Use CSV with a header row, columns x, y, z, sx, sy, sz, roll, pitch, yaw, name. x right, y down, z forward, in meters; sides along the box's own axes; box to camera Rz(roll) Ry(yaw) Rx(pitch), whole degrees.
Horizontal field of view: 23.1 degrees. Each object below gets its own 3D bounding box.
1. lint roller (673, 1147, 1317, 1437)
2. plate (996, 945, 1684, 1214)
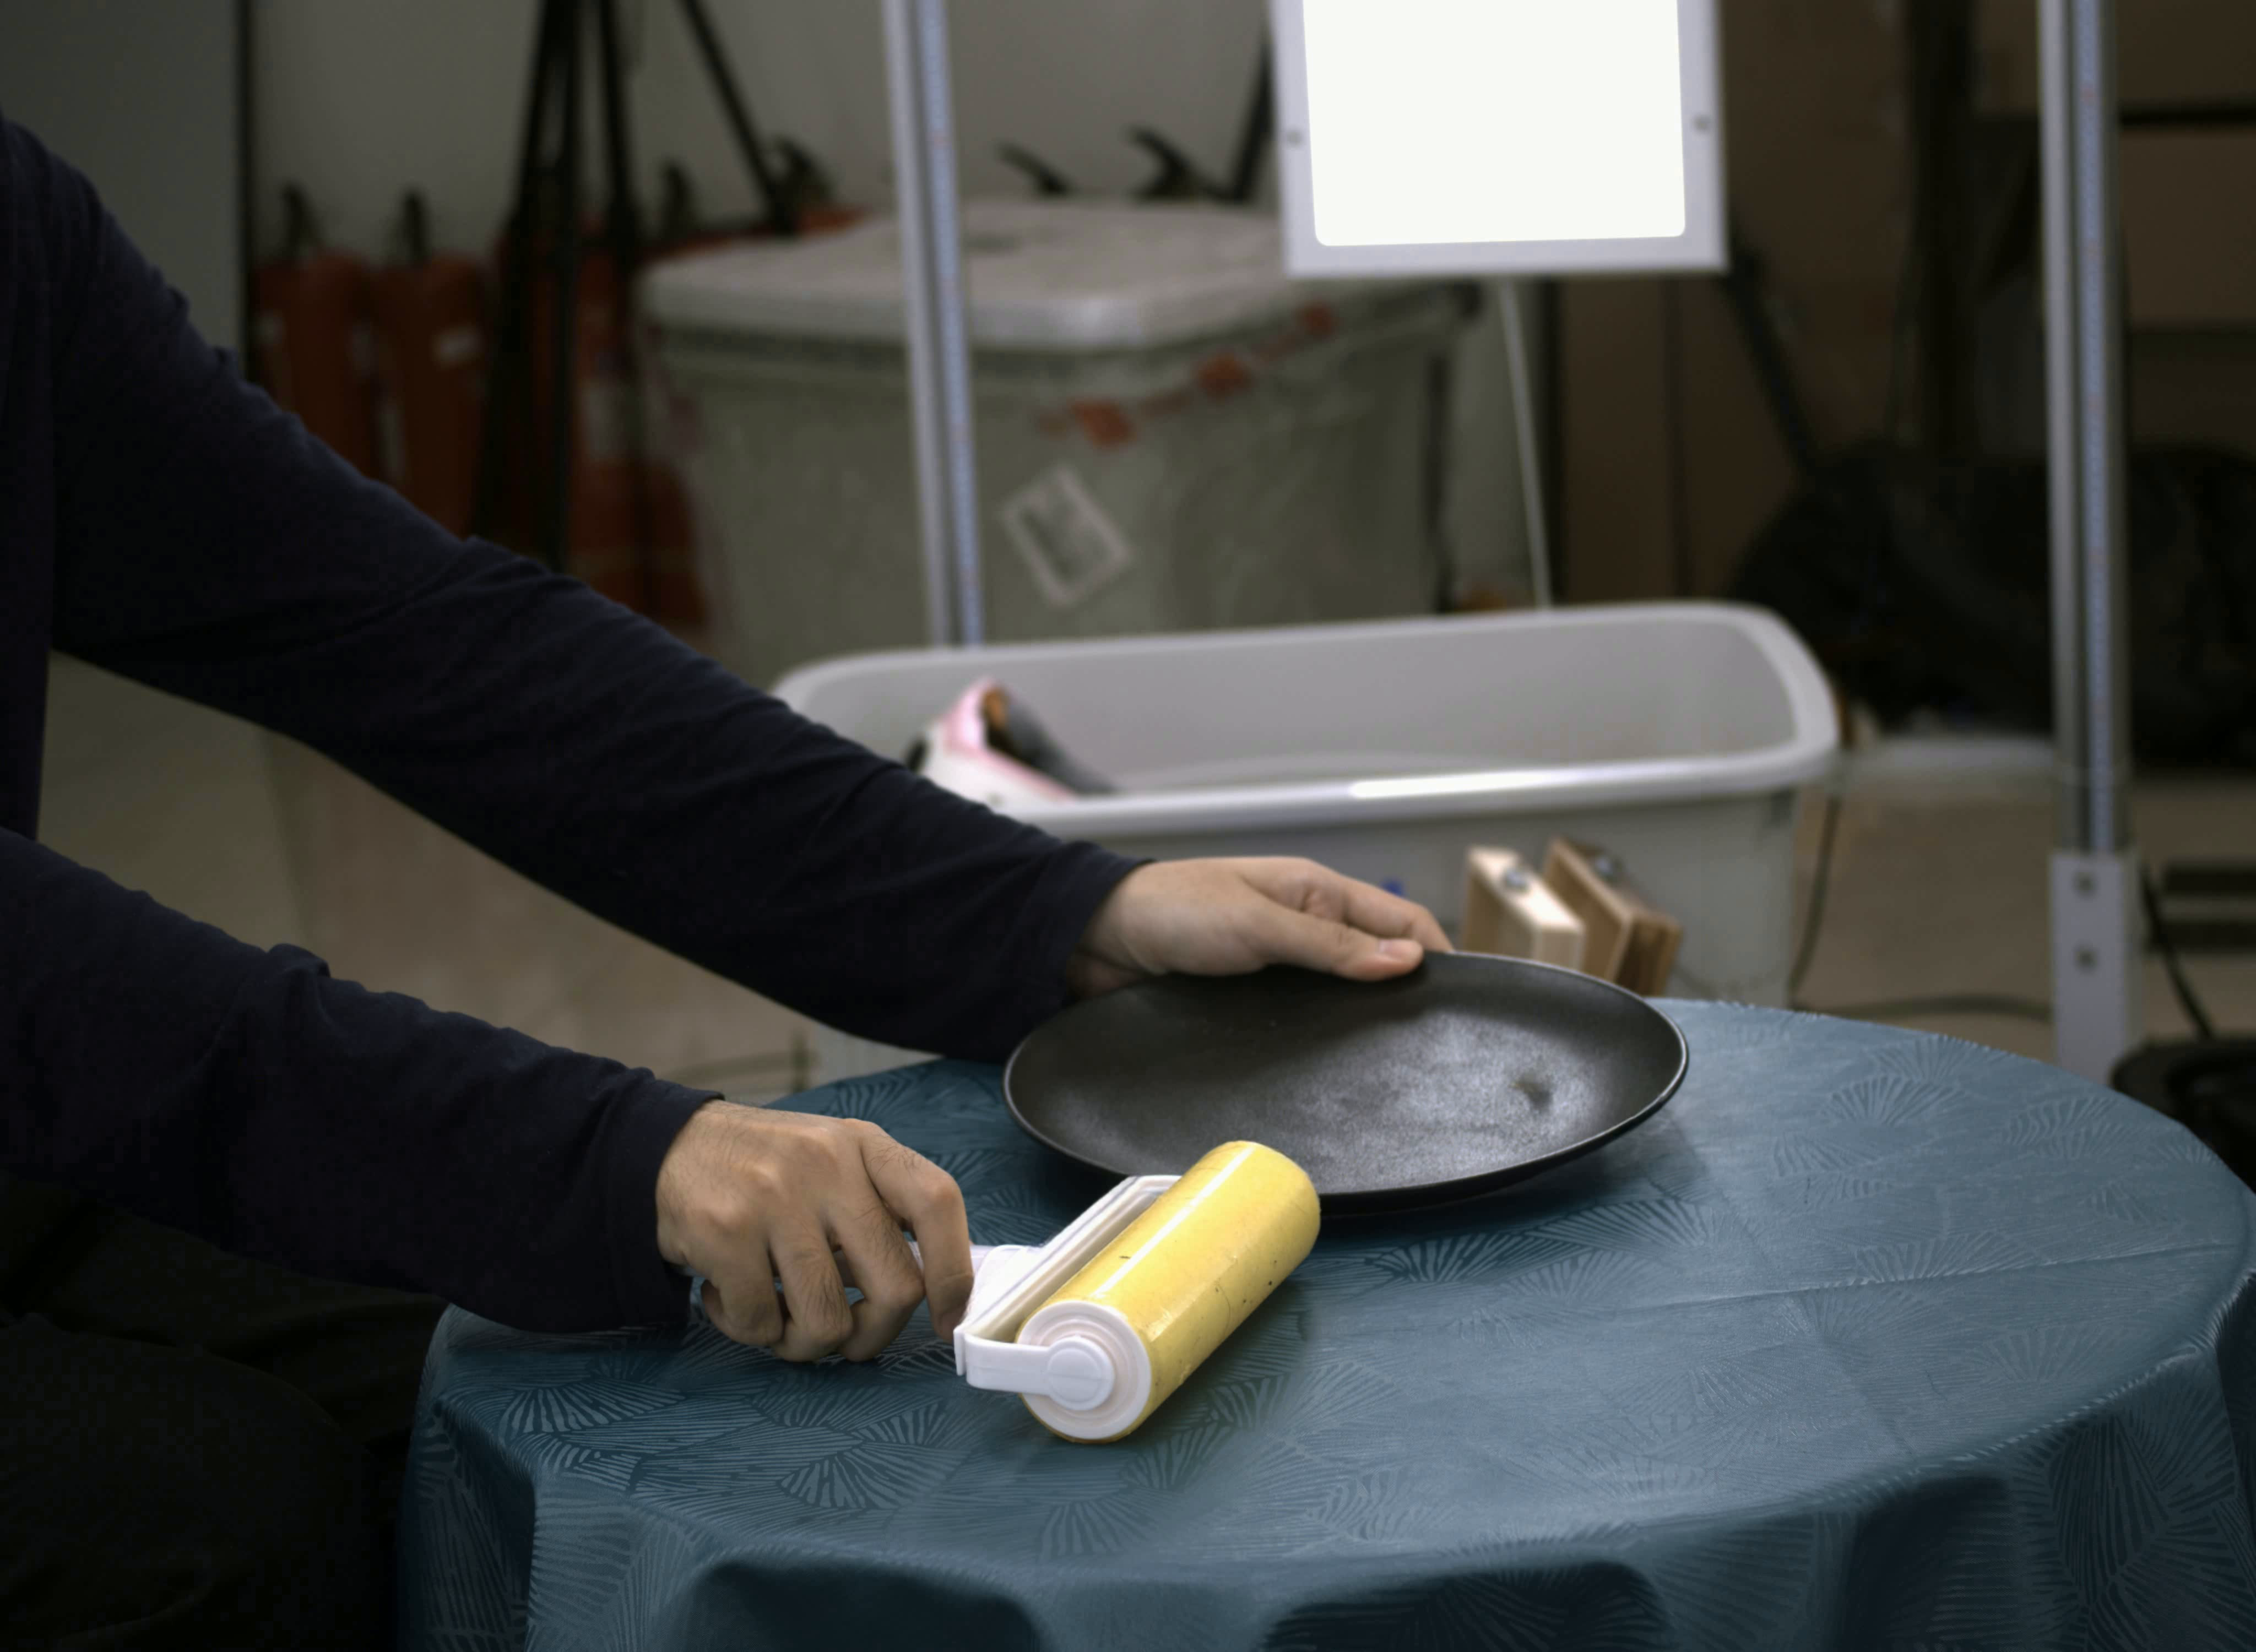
x,y,z,sx,sy,sz,roll,pitch,yaw,name
-0.053,0.134,1.747,0.194,0.052,0.171,10,17,18,lint roller
0.075,0.092,1.937,0.244,0.023,0.244,-4,18,0,plate
